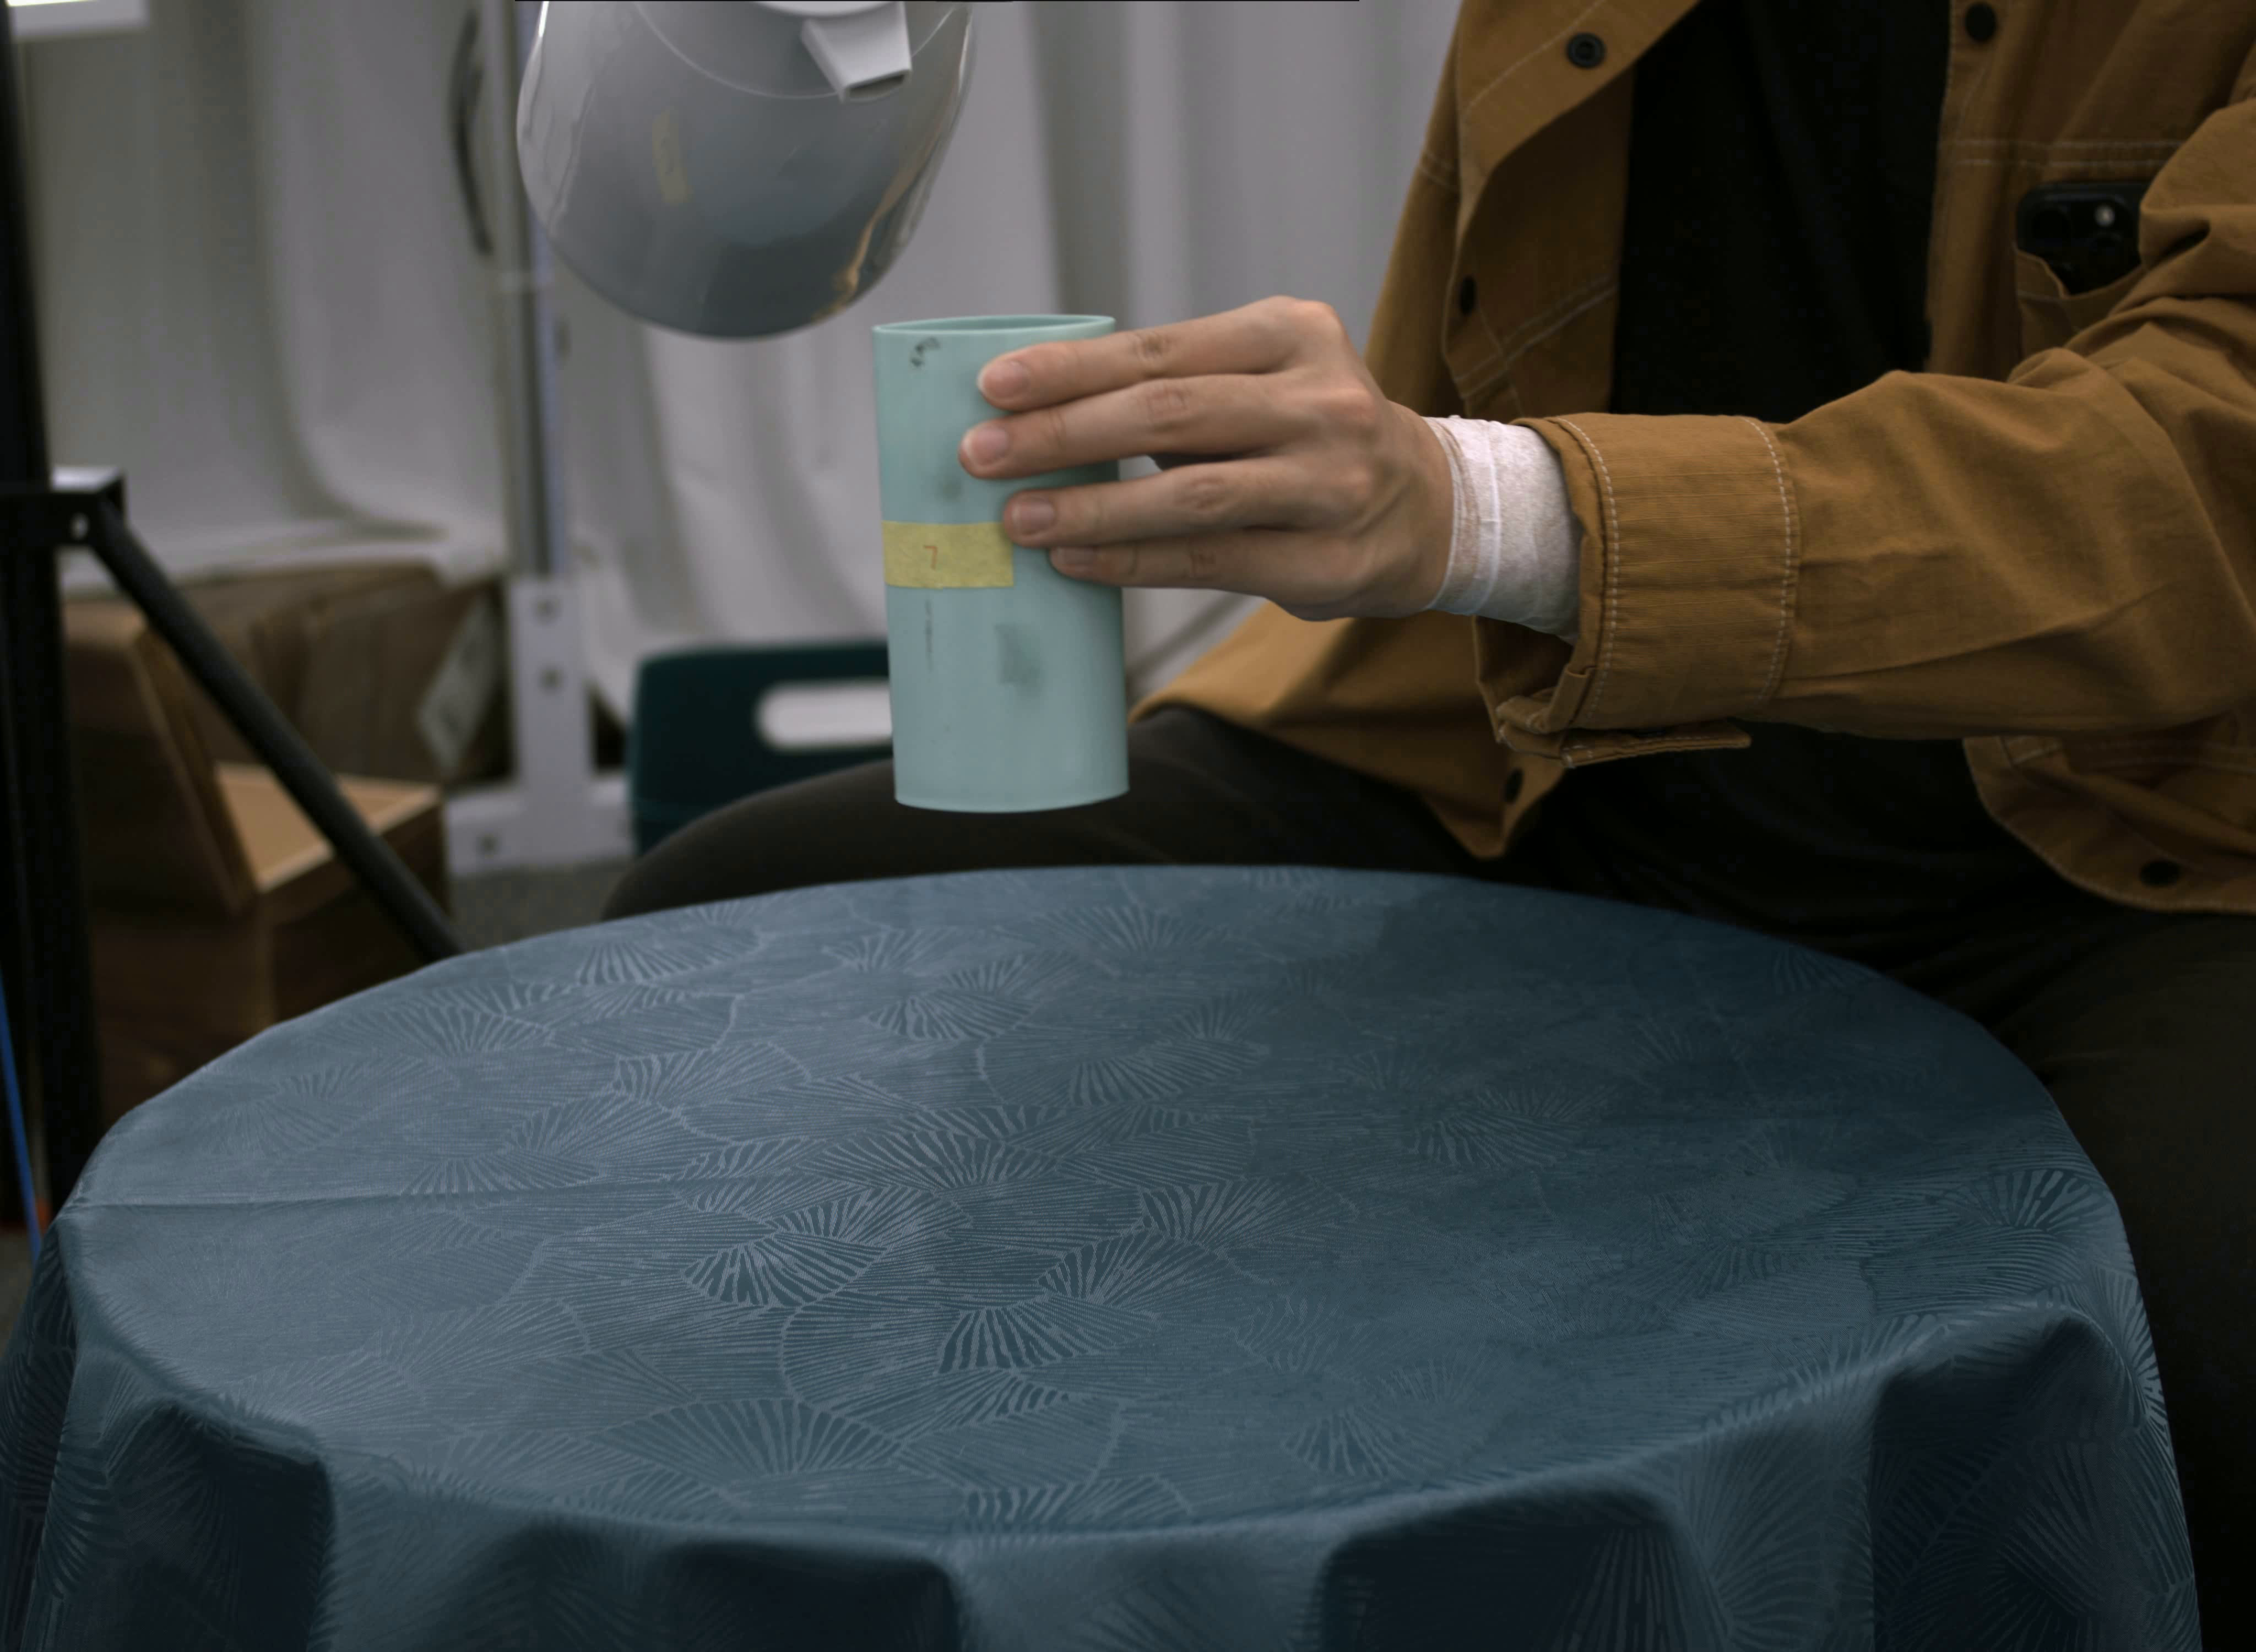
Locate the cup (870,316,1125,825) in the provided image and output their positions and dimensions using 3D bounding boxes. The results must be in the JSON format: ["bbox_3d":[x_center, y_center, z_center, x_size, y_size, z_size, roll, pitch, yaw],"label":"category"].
[{"bbox_3d":[-0.034,-0.071,1.452,0.066,0.132,0.067,-2,8,-1],"label":"cup"}]

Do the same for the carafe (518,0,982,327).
[{"bbox_3d":[-0.112,-0.261,1.570,0.131,0.169,0.249,-18,-8,-12],"label":"carafe"}]
